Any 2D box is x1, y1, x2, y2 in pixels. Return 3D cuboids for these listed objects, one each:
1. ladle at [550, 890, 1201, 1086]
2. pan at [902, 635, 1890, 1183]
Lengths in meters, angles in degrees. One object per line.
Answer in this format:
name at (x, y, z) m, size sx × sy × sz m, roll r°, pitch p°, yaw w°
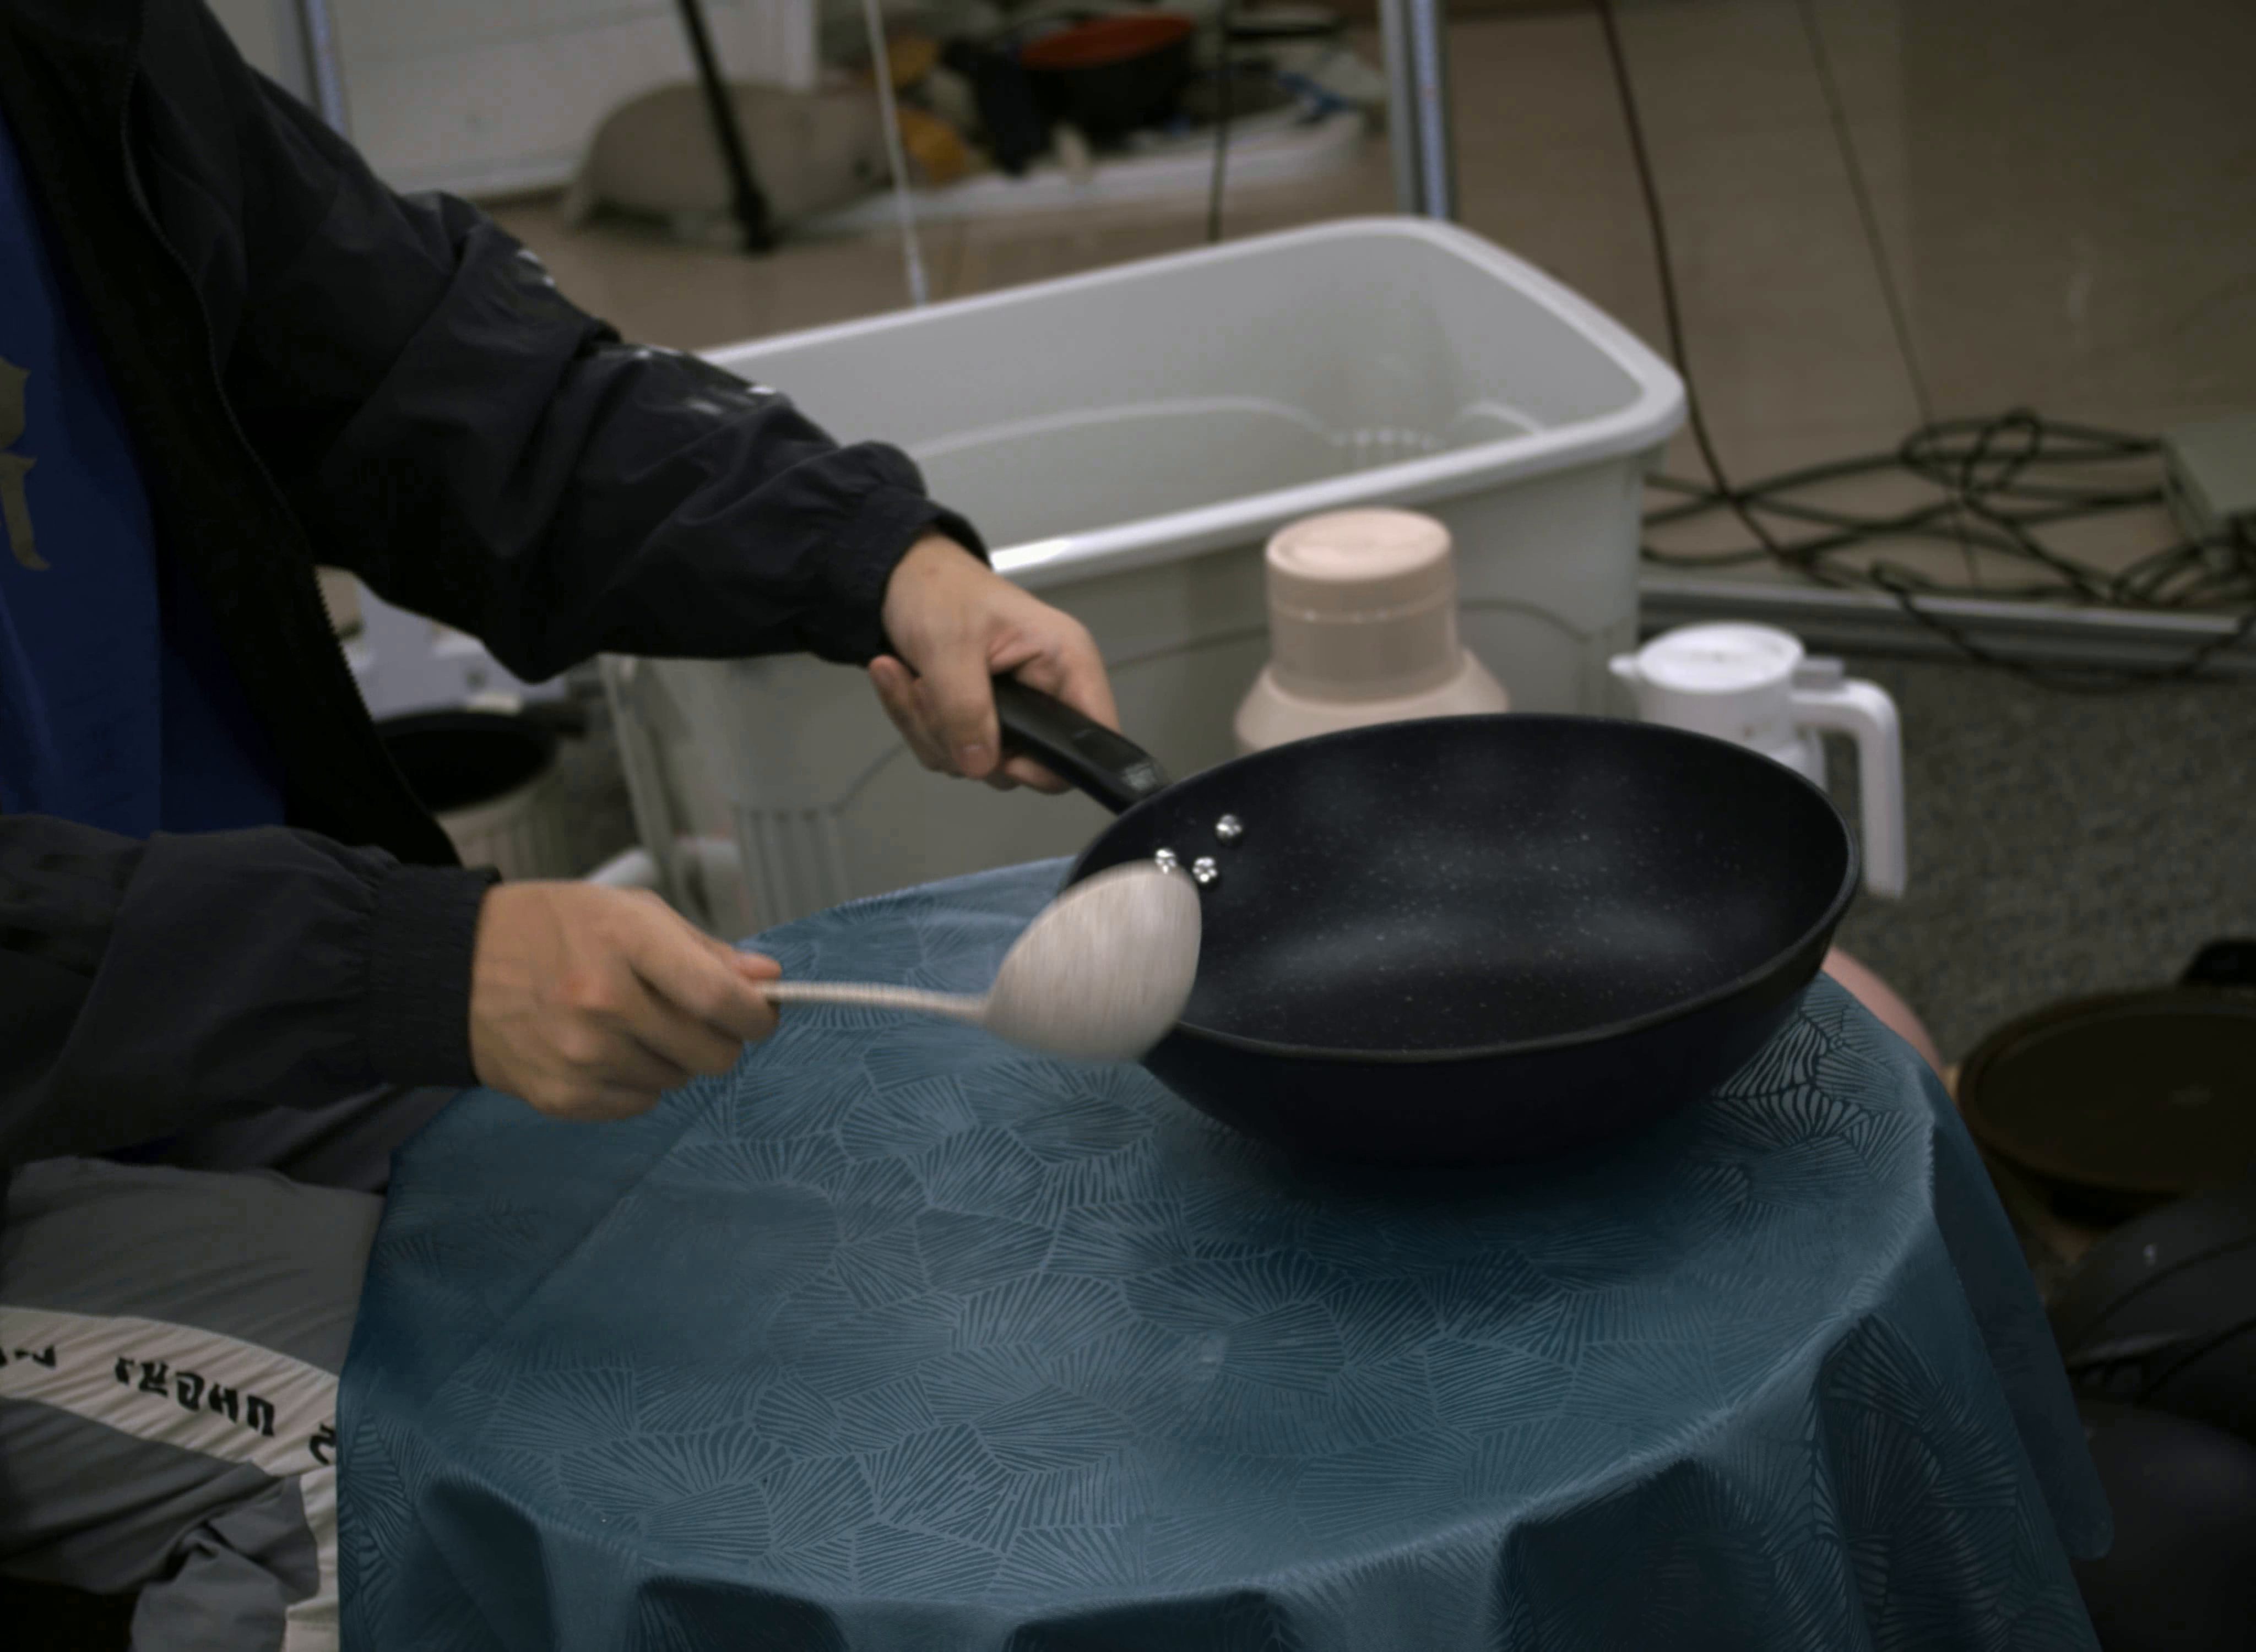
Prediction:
ladle at (-0.097, 0.052, 2.030) m, size 0.274 × 0.069 × 0.090 m, roll 3°, pitch -6°, yaw 35°
pan at (0.079, 0.030, 2.229) m, size 0.308 × 0.113 × 0.473 m, roll -25°, pitch 31°, yaw -38°
